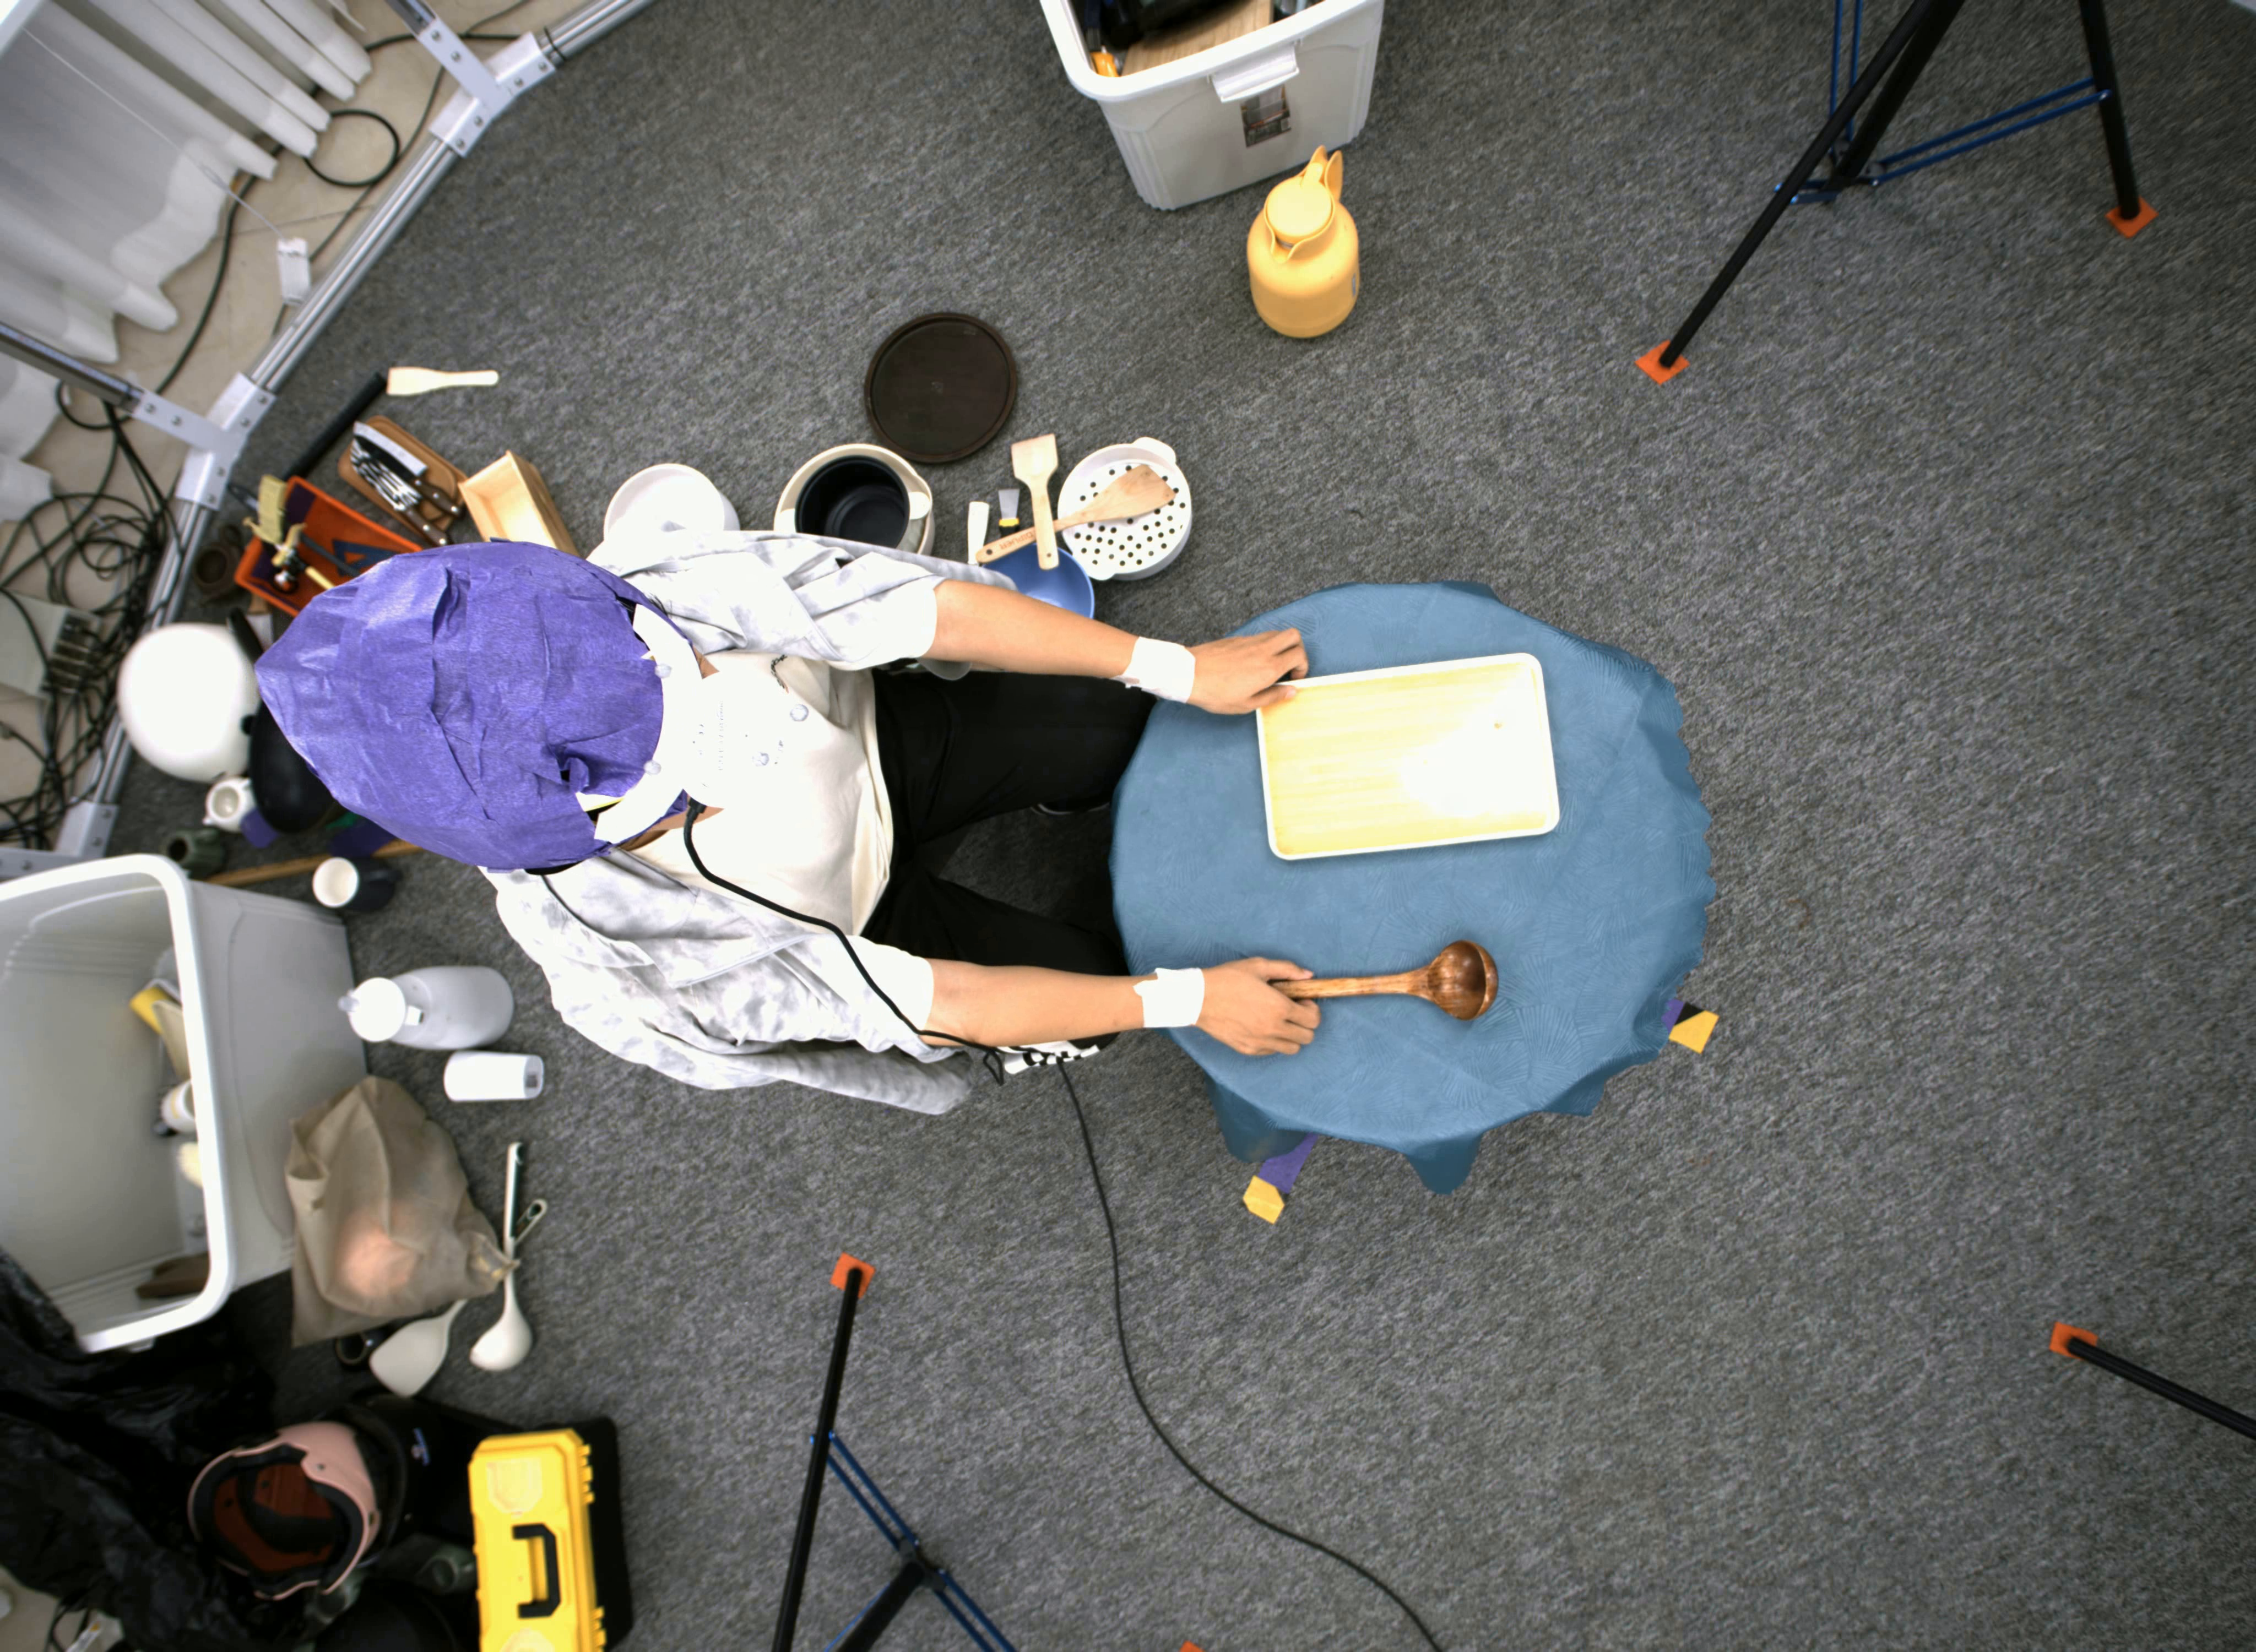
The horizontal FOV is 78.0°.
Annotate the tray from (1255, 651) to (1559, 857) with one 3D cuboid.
[{"bbox_3d":[0.291,-0.075,1.448,0.302,0.027,0.190,-6,86,10],"label":"tray"}]

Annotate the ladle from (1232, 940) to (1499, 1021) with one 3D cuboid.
[{"bbox_3d":[0.240,0.161,1.419,0.275,0.077,0.081,-3,79,10],"label":"ladle"}]
